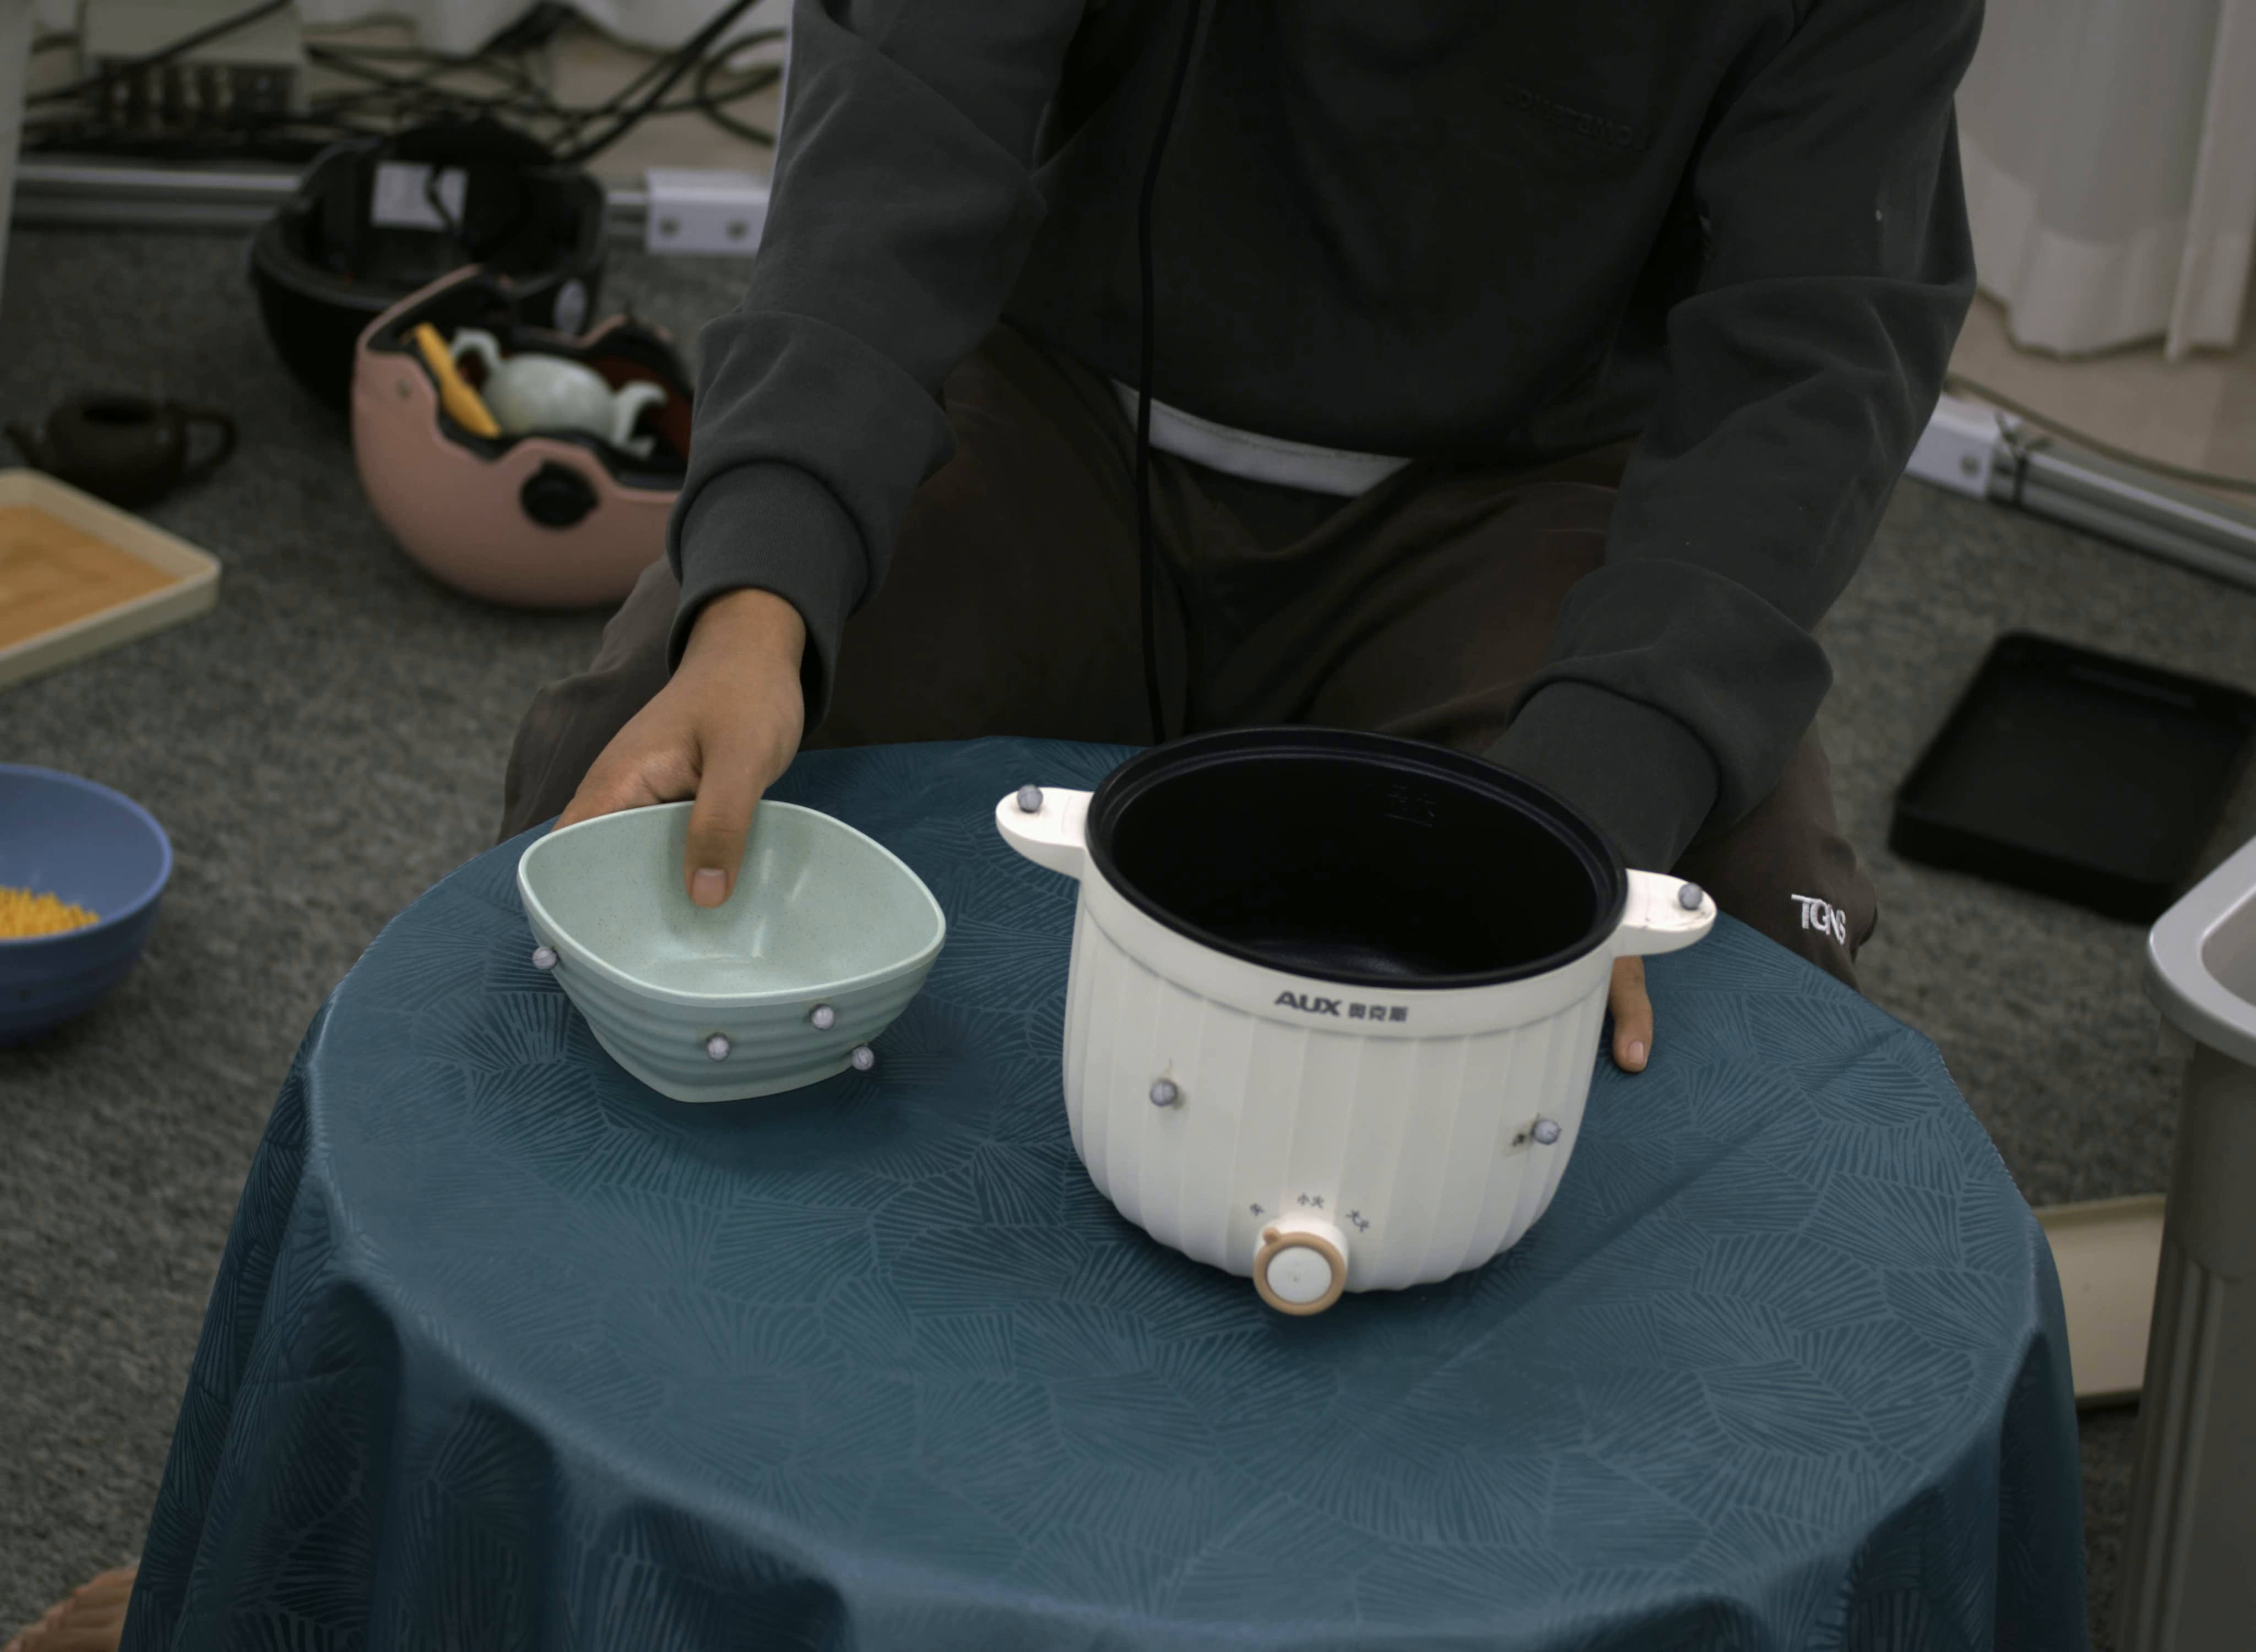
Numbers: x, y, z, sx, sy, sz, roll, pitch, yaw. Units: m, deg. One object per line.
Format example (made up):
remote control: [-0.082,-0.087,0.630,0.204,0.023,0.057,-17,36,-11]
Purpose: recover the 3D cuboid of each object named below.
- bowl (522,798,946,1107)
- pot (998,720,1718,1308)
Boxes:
bowl: [-0.140,0.050,1.859,0.151,0.058,0.152,6,28,-3]
pot: [0.071,0.066,1.781,0.240,0.142,0.191,6,23,1]
